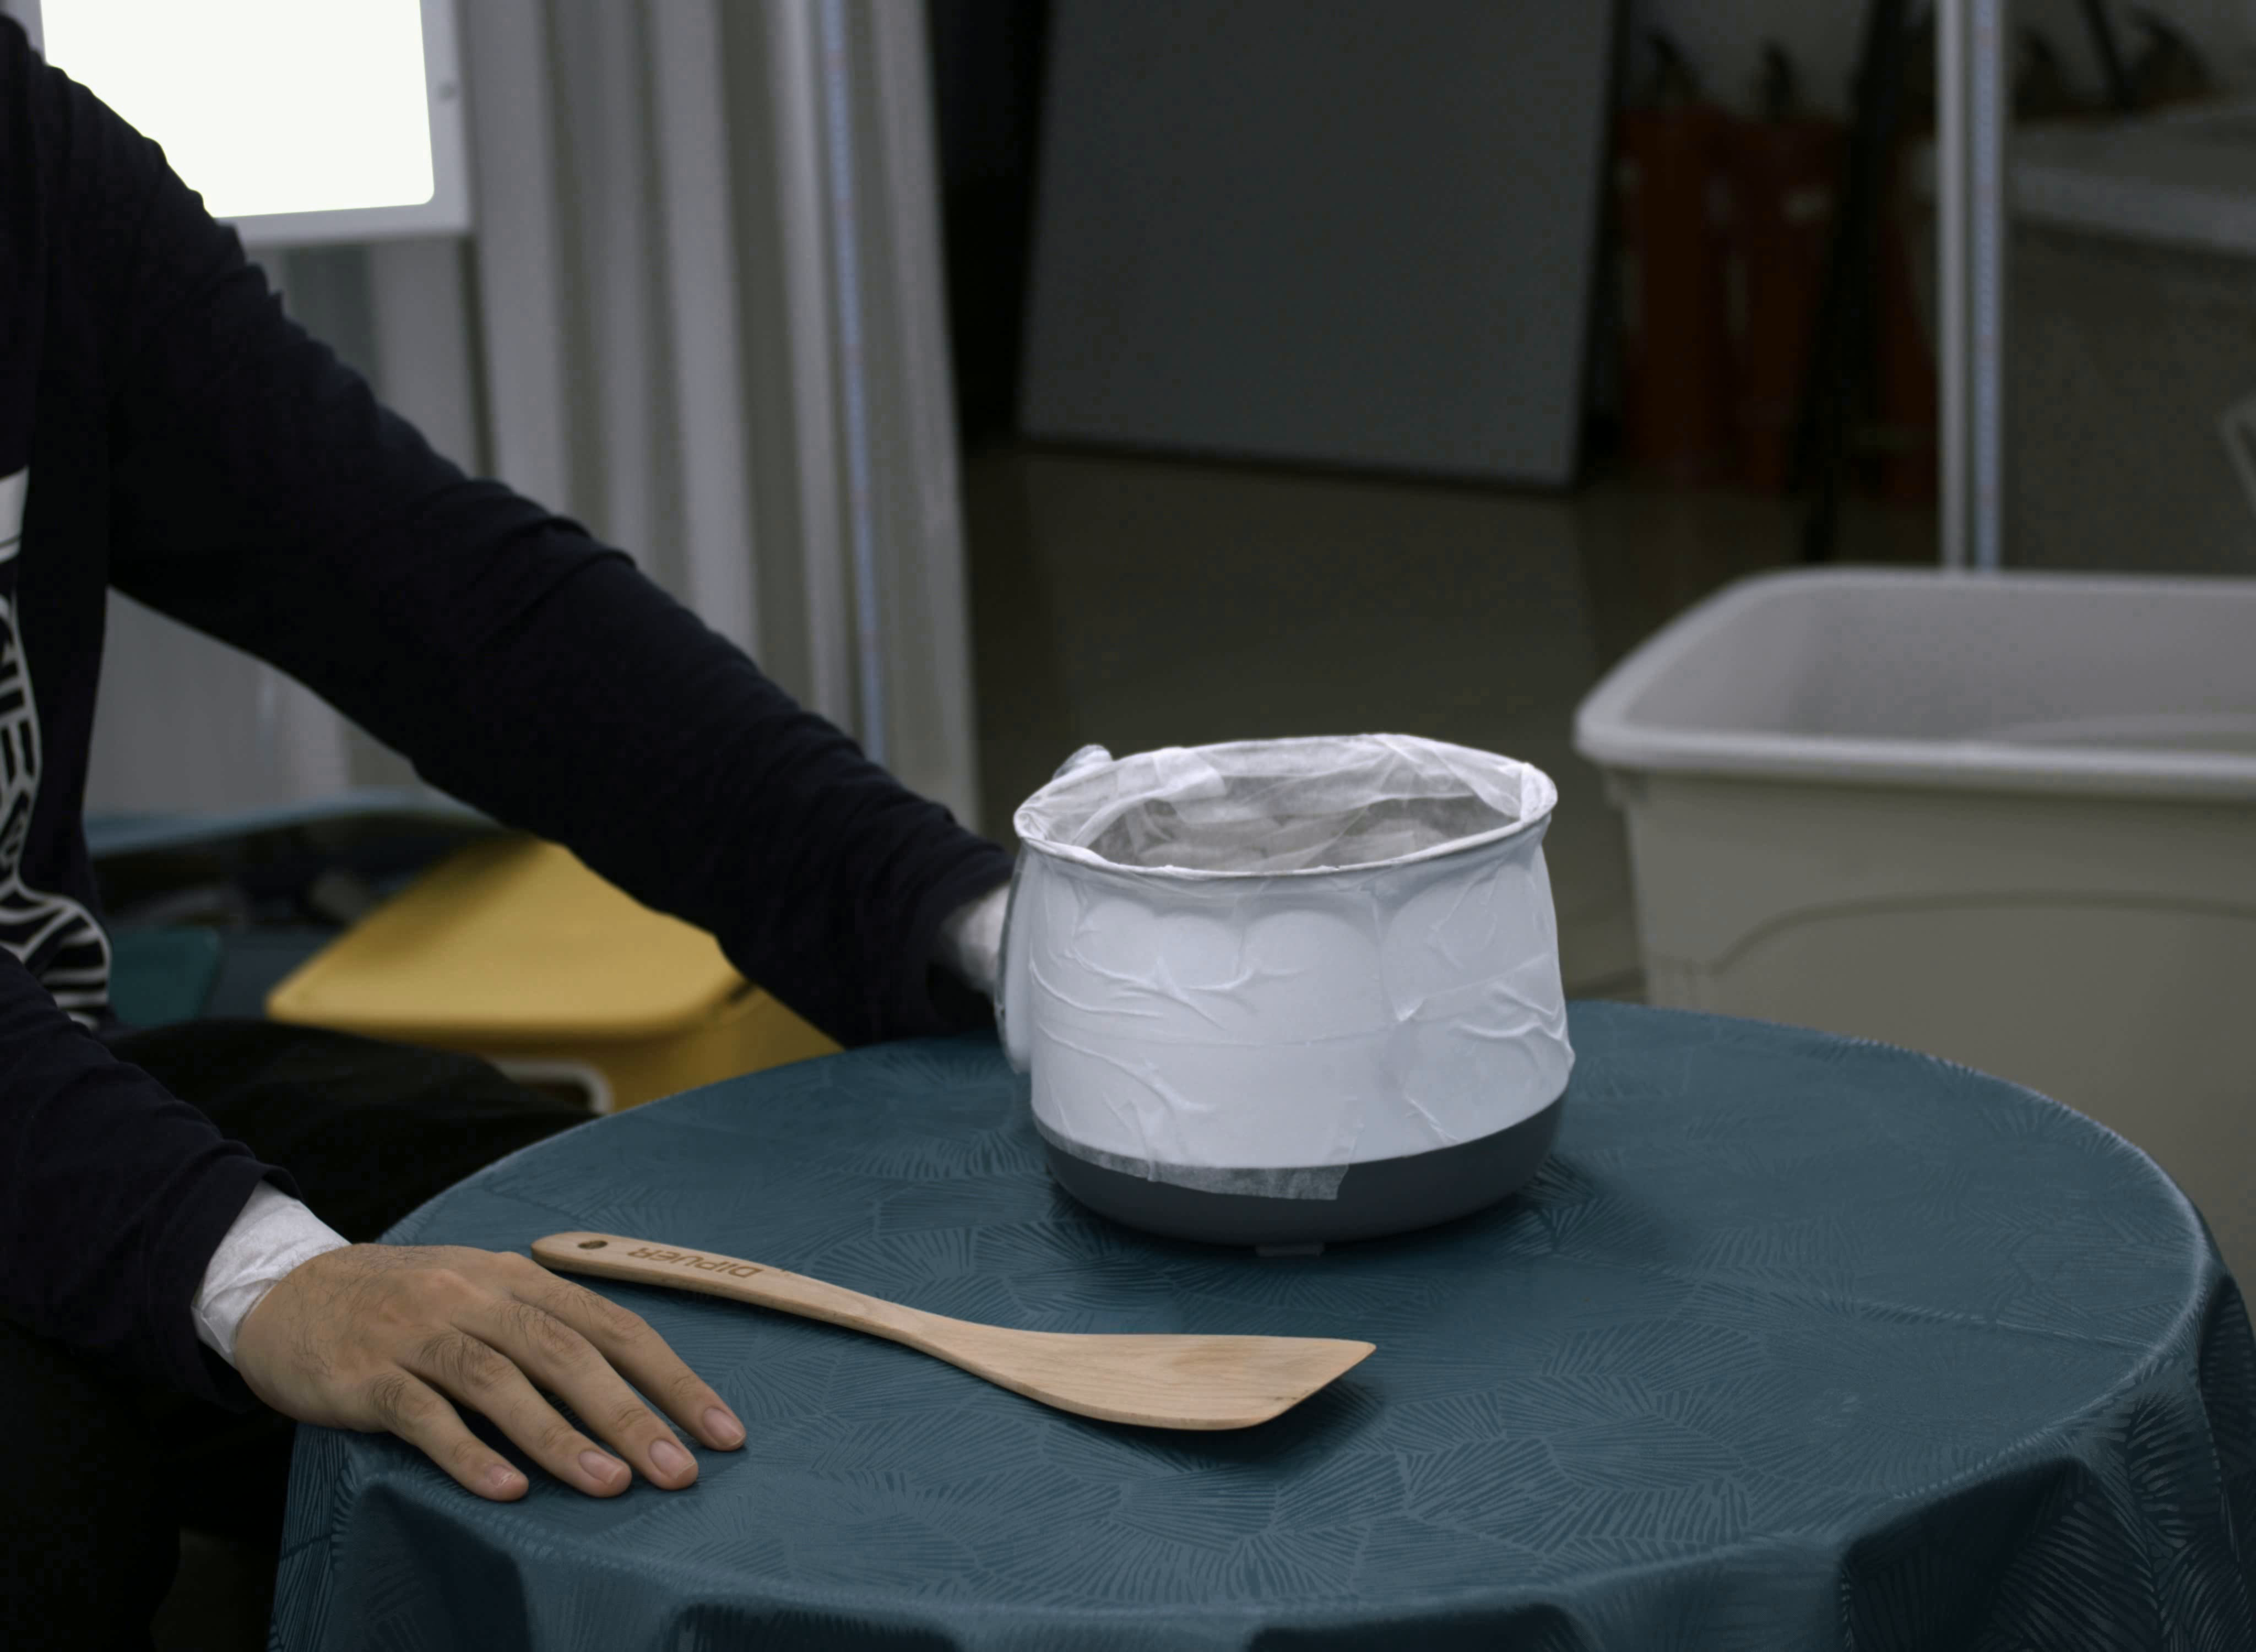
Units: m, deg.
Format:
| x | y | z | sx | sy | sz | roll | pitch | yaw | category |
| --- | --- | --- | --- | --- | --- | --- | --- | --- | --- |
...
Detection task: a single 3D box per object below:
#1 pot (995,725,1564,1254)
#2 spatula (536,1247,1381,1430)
| x | y | z | sx | sy | sz | roll | pitch | yaw | category |
| --- | --- | --- | --- | --- | --- | --- | --- | --- | --- |
| 0.036 | 0.047 | 1.767 | 0.175 | 0.138 | 0.236 | -13 | 18 | -38 | pot |
| -0.062 | 0.150 | 1.640 | 0.330 | 0.017 | 0.078 | 7 | 16 | 40 | spatula |
